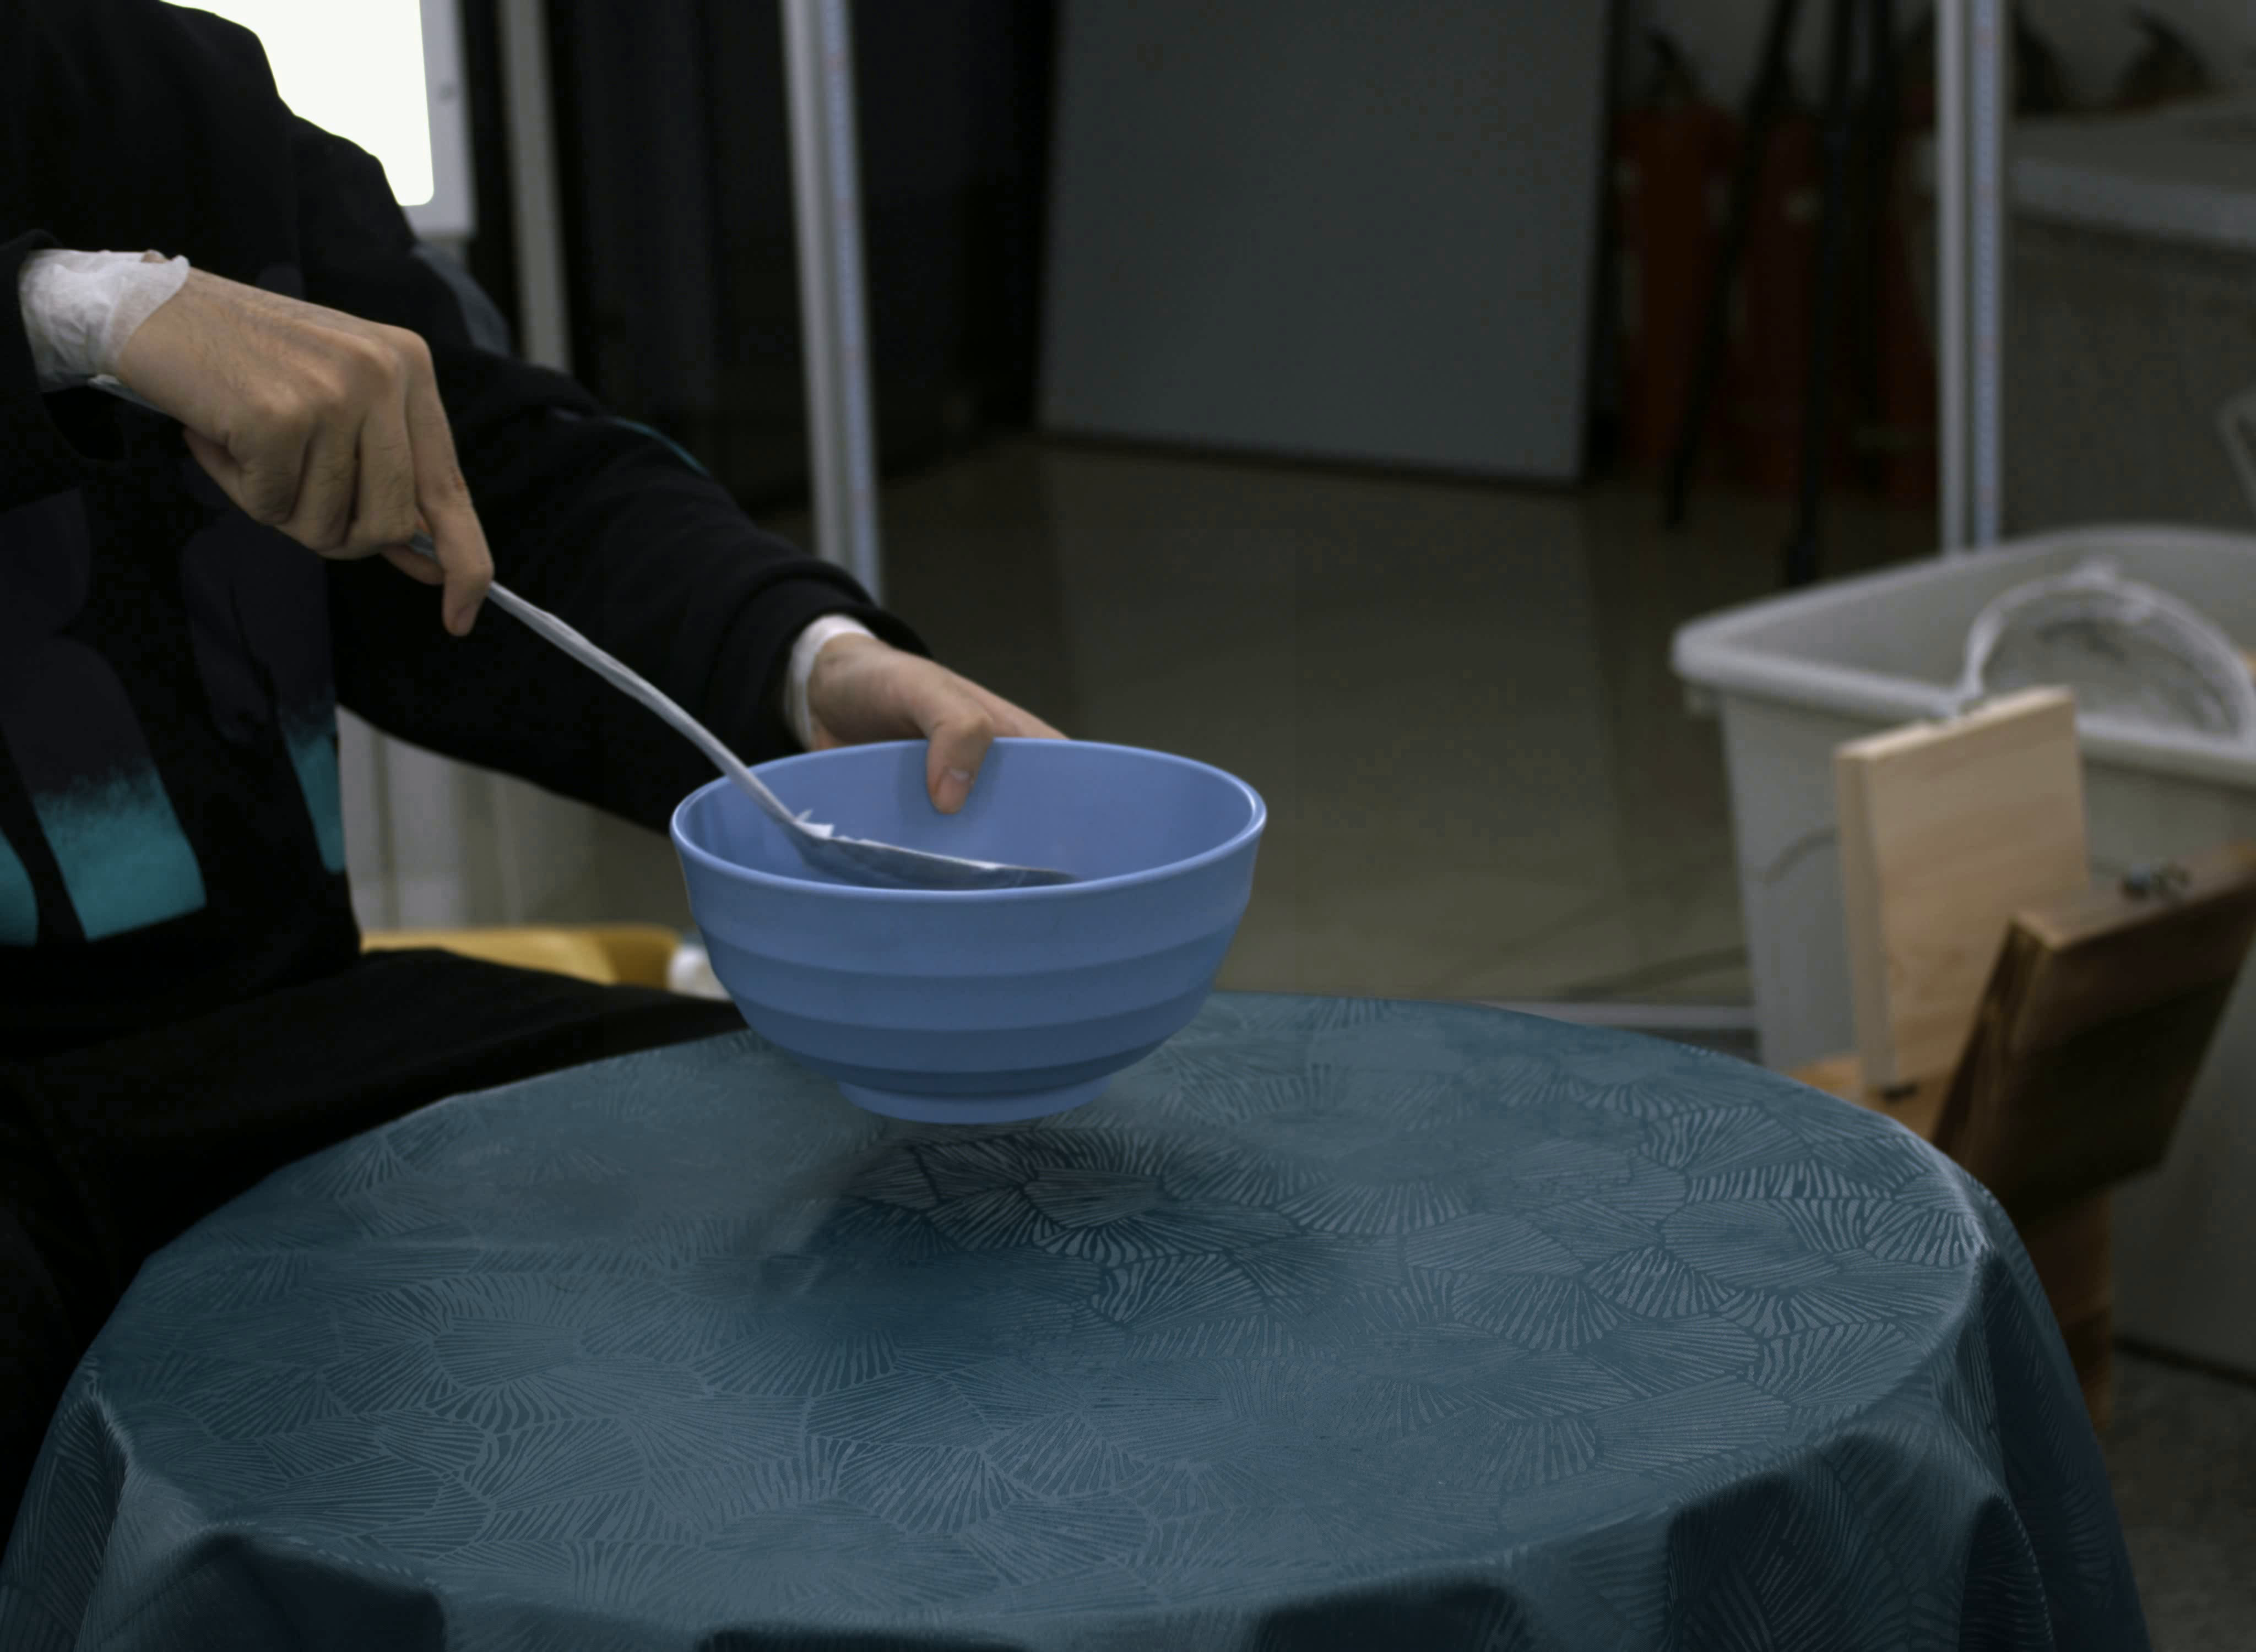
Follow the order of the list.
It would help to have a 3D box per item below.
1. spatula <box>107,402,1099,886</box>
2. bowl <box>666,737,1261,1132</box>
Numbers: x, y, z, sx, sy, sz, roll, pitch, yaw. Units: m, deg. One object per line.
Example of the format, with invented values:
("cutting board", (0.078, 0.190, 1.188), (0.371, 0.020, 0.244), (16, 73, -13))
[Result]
("spatula", (-0.167, -0.056, 1.772), (0.361, 0.045, 0.099), (34, -11, -11))
("bowl", (-0.051, 0.040, 1.769), (0.194, 0.096, 0.197), (-3, 15, 0))
